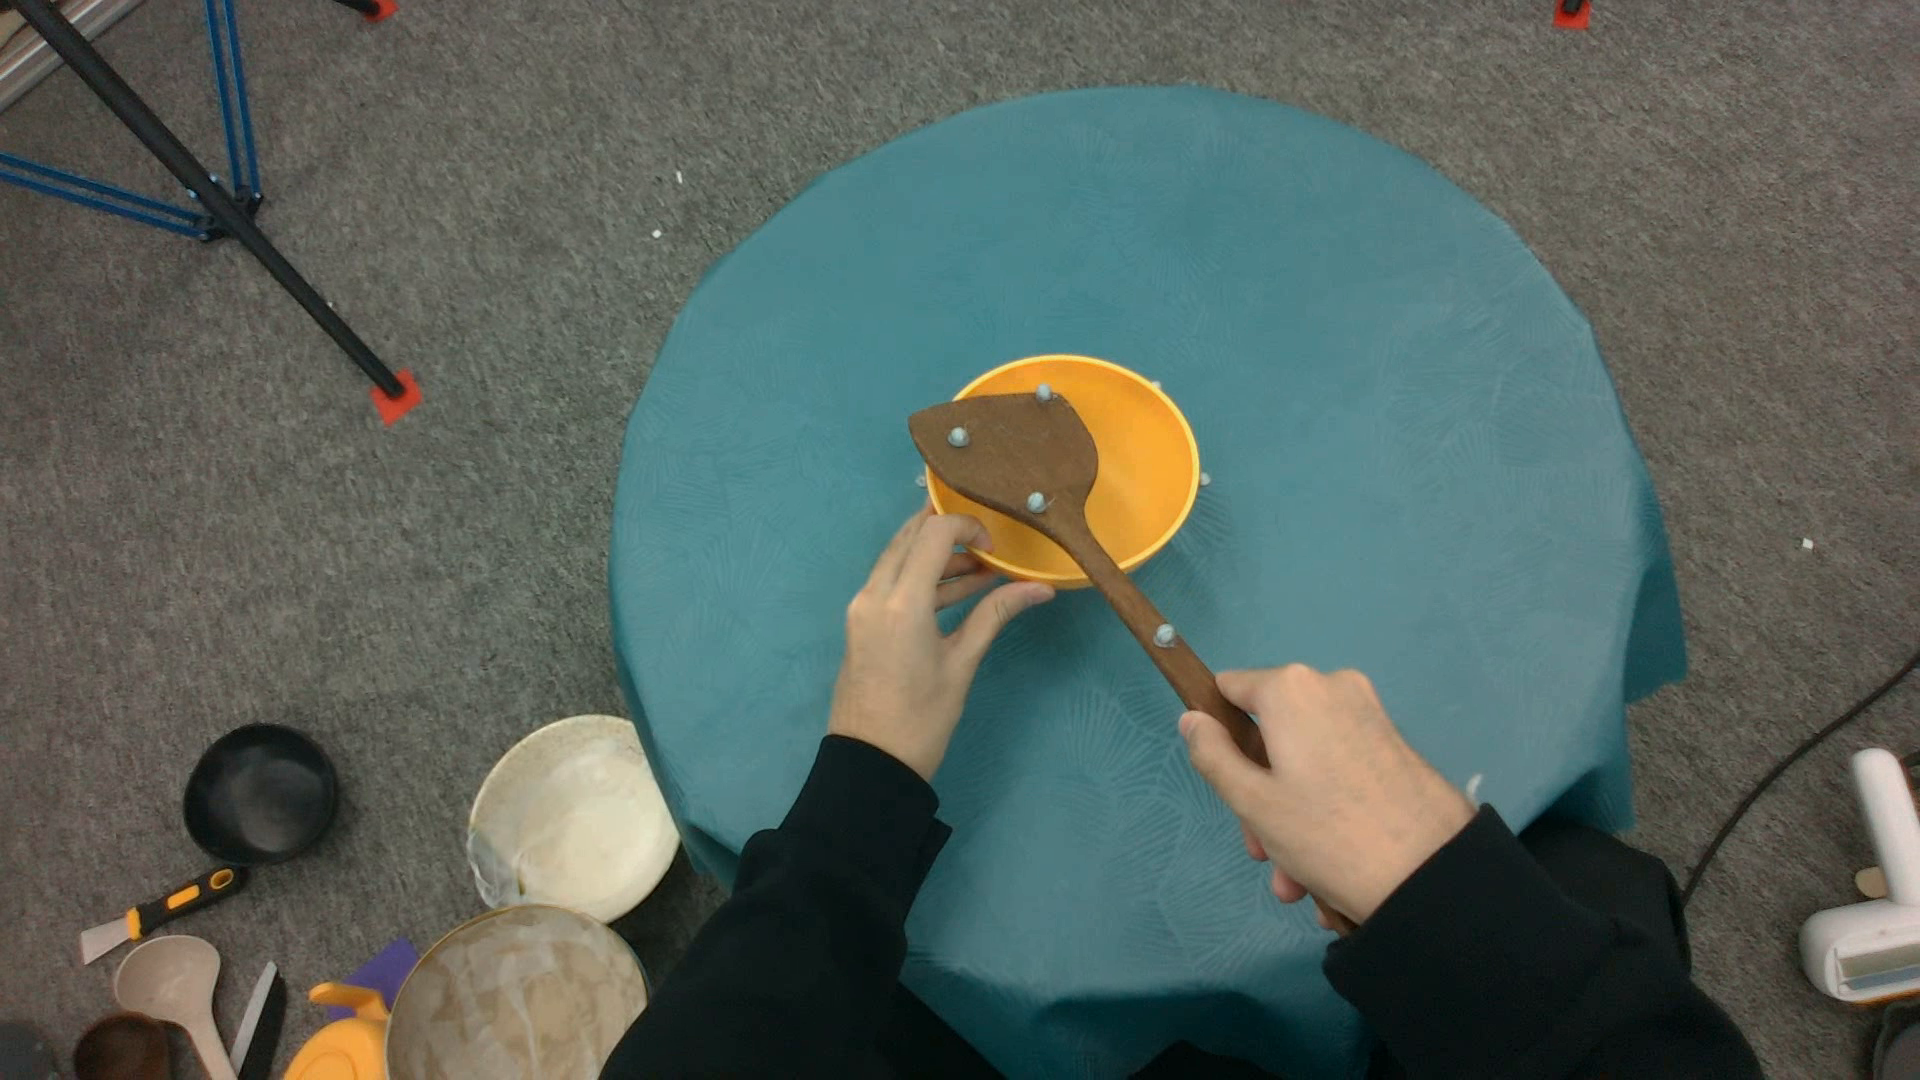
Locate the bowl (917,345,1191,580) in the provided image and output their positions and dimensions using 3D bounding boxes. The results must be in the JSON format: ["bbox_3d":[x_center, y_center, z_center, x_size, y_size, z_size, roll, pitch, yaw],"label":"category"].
[{"bbox_3d":[0.051,-0.033,0.752,0.145,0.060,0.146,-2,60,4],"label":"bowl"}]

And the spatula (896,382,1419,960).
[{"bbox_3d":[0.078,0.030,0.609,0.096,0.016,0.387,-11,39,-21],"label":"spatula"}]
